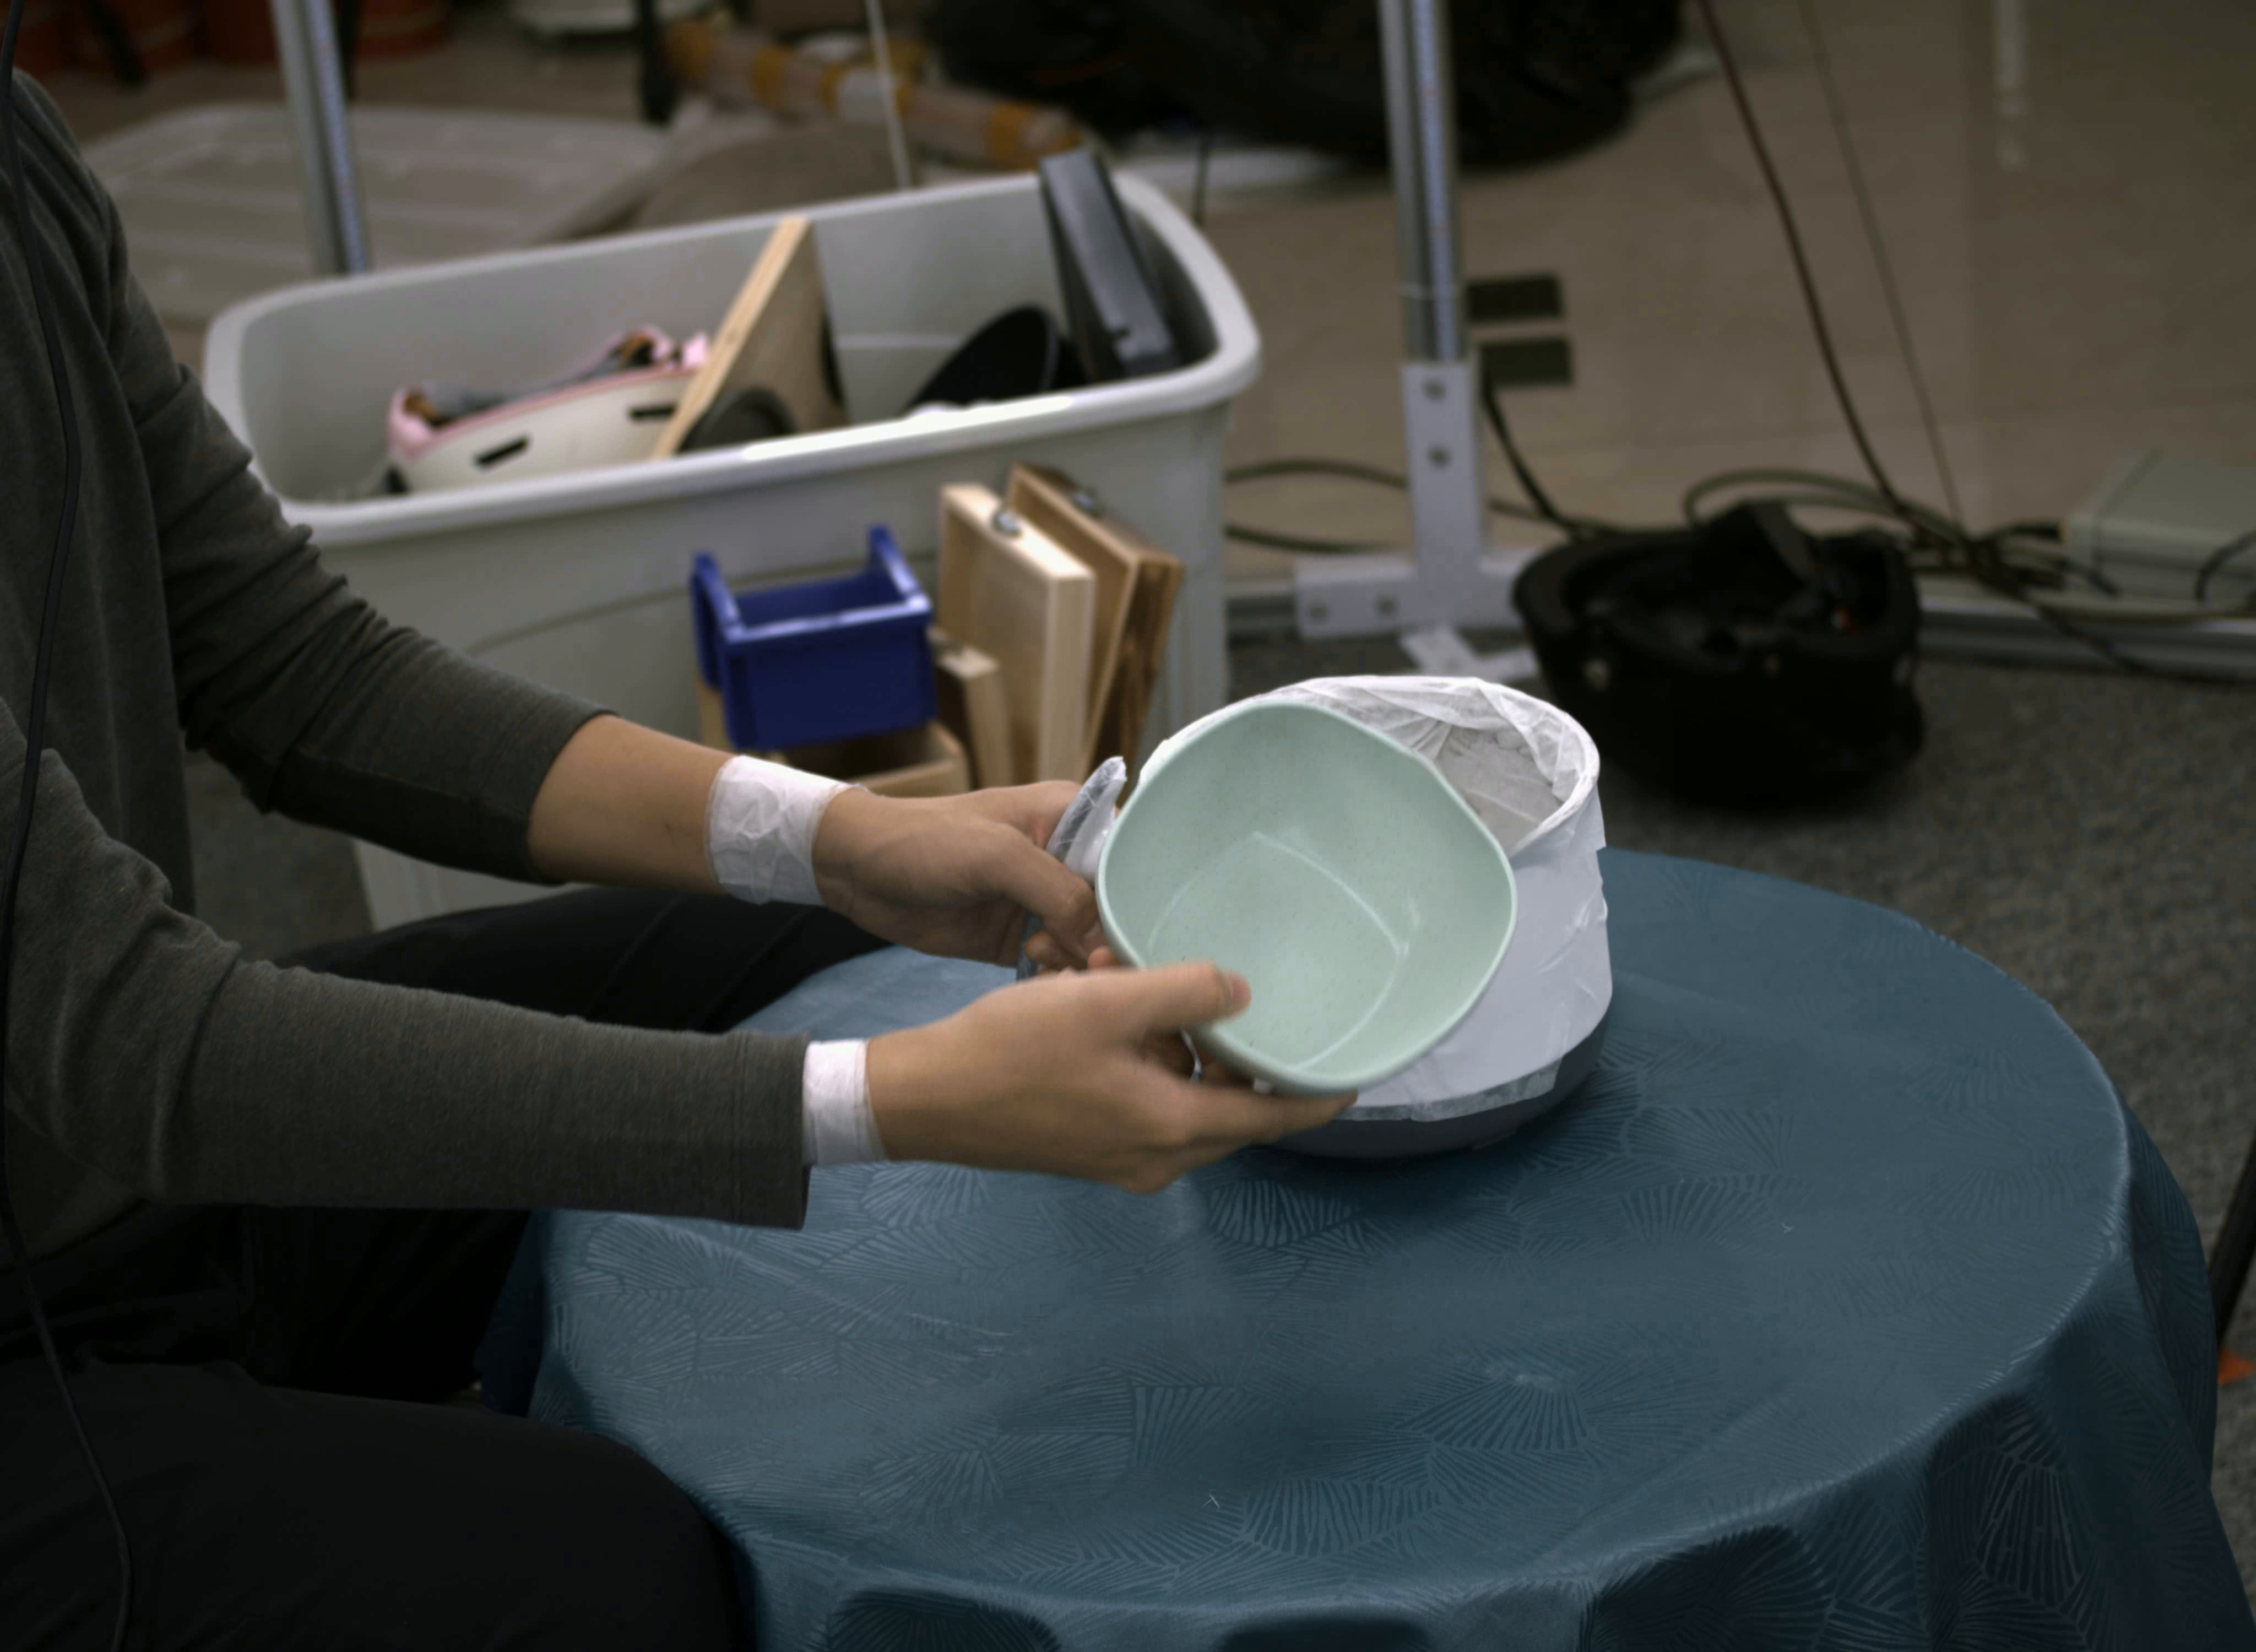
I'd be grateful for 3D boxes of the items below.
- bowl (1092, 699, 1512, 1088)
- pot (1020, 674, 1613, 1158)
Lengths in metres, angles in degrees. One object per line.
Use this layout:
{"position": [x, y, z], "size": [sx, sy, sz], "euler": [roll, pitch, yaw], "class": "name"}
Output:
{"position": [0.056, 0.034, 1.992], "size": [0.151, 0.059, 0.149], "euler": [7, 59, -11], "class": "bowl"}
{"position": [0.070, 0.036, 2.184], "size": [0.233, 0.139, 0.176], "euler": [1, 27, 12], "class": "pot"}
